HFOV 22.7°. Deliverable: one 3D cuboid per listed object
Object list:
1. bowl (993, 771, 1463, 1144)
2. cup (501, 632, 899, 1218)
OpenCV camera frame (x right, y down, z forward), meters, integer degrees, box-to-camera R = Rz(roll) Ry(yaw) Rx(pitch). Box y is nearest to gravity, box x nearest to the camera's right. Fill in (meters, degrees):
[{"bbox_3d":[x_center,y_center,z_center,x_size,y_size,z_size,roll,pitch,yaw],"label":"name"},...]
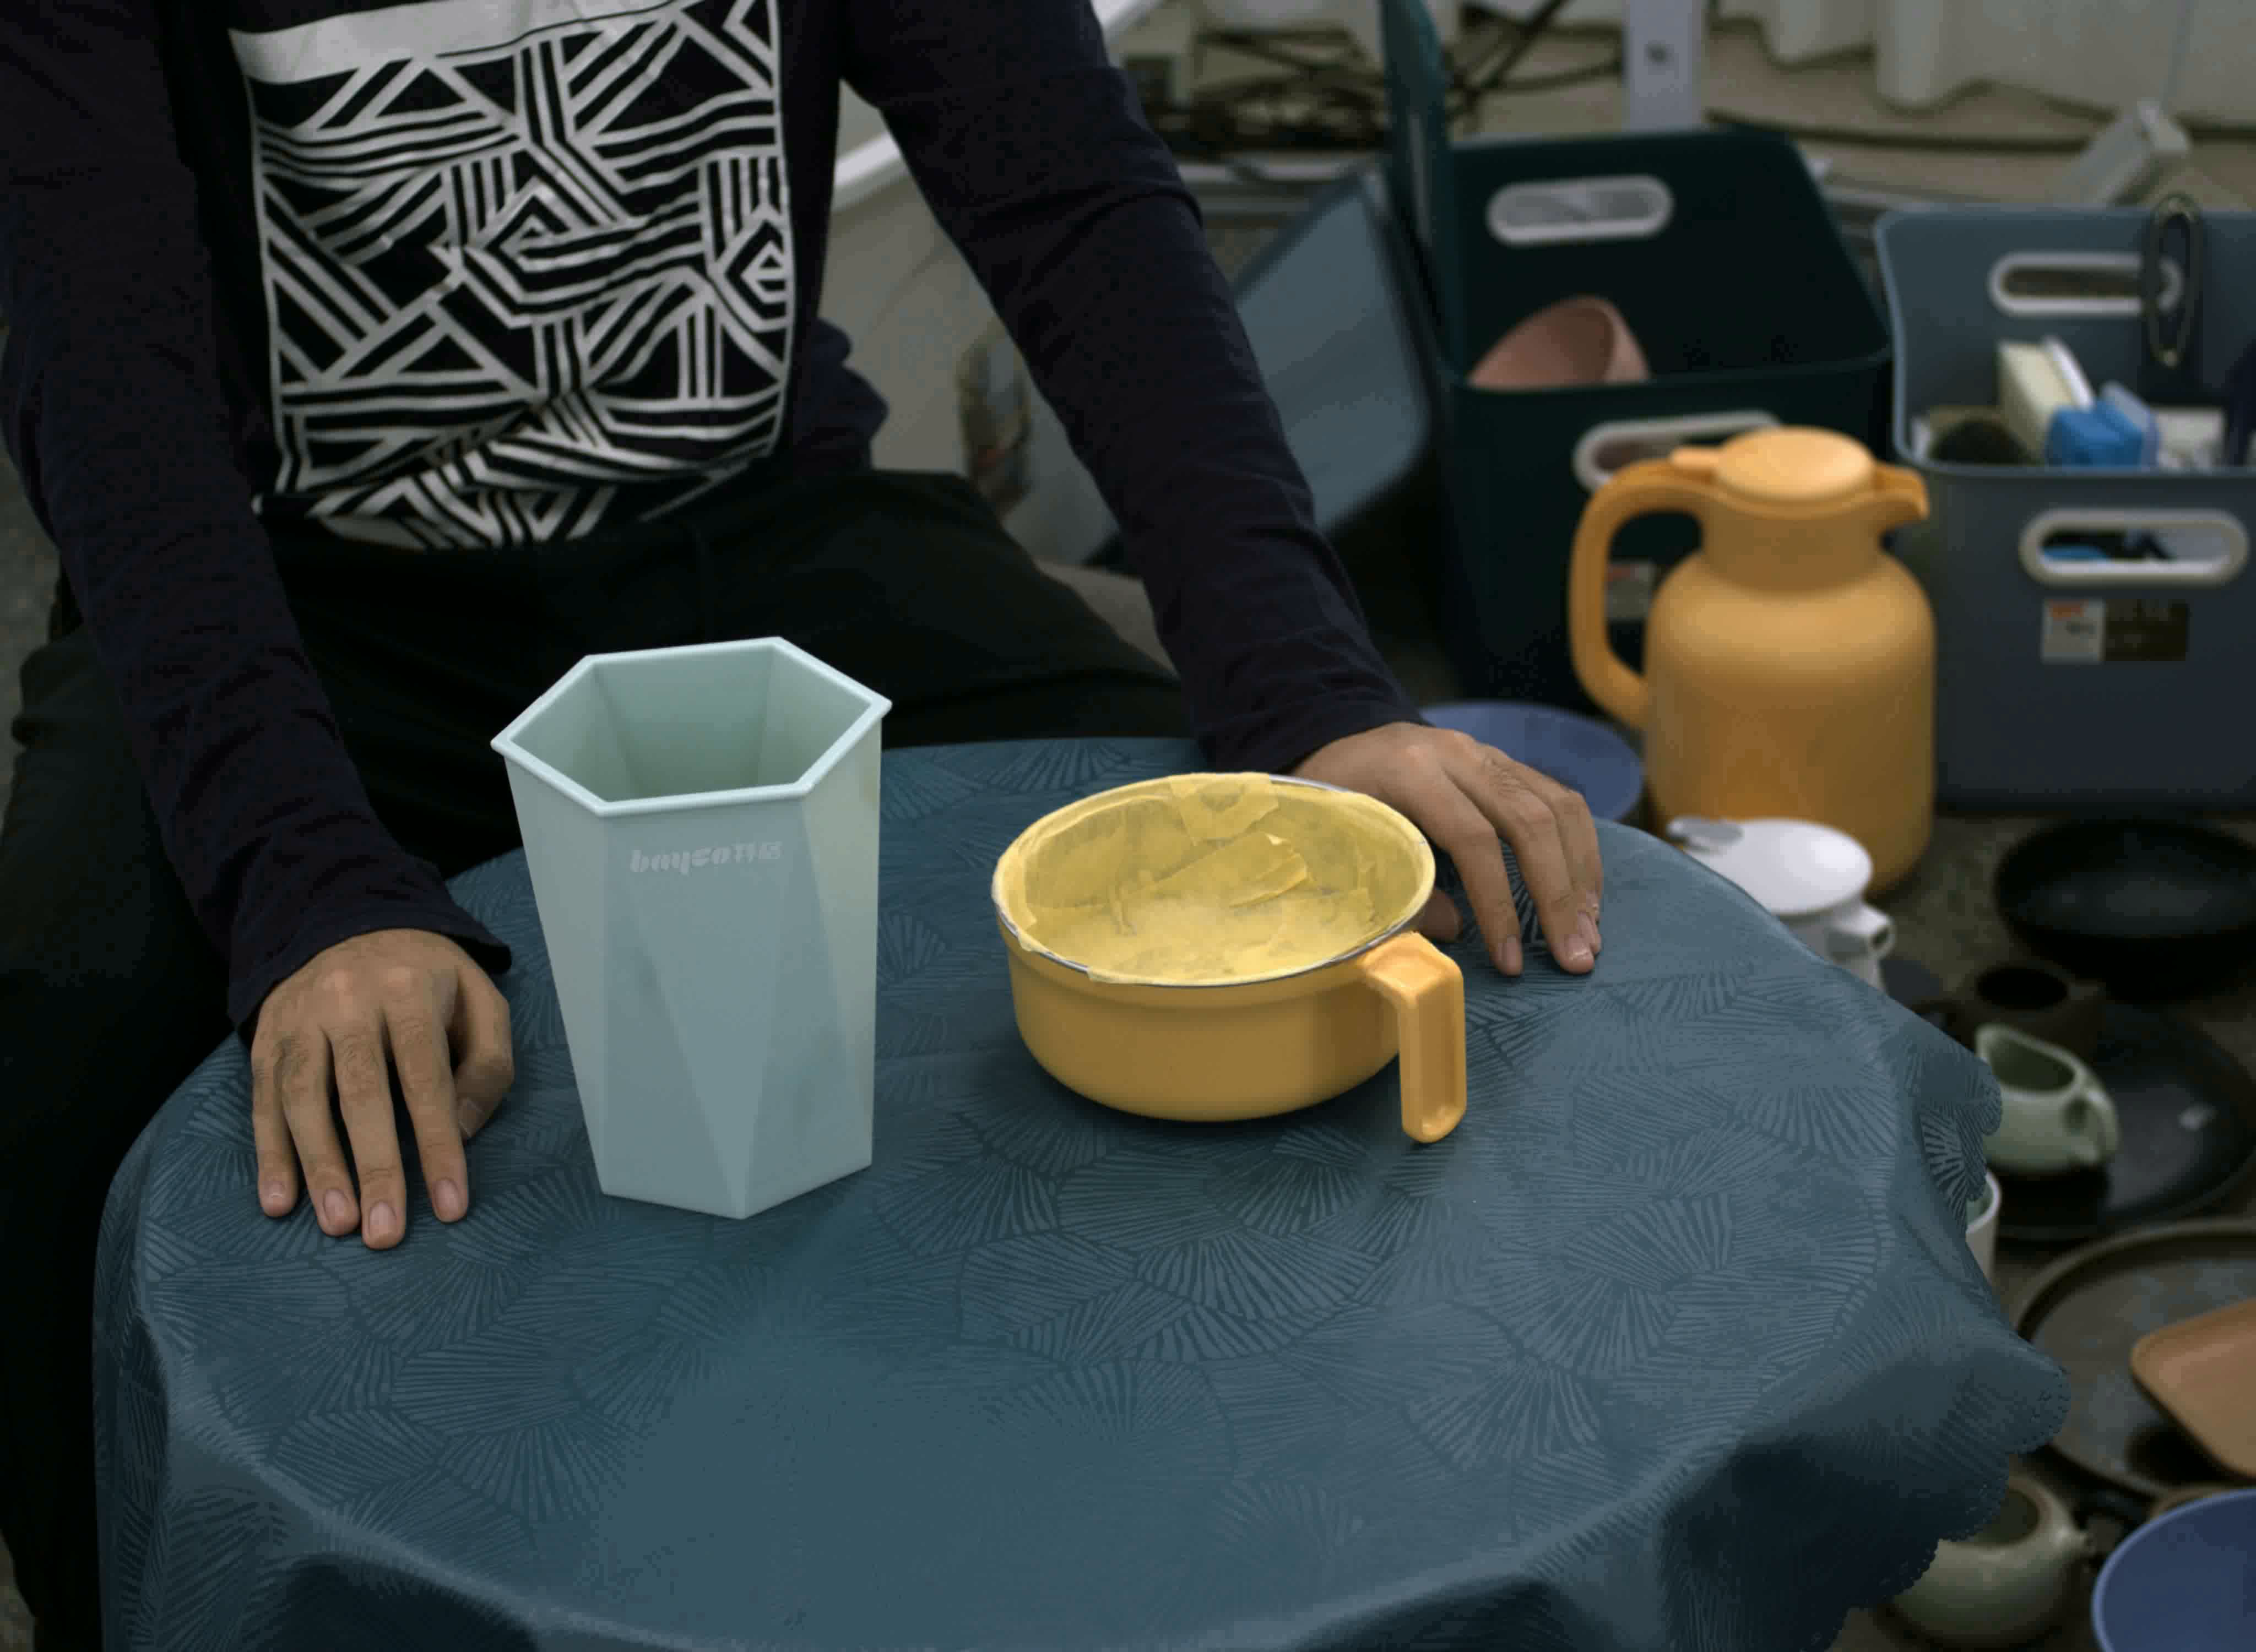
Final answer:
[{"bbox_3d":[0.040,0.048,1.922,0.178,0.073,0.155,19,30,39],"label":"bowl"},{"bbox_3d":[-0.136,0.035,1.863,0.131,0.161,0.116,-6,25,-7],"label":"cup"}]
